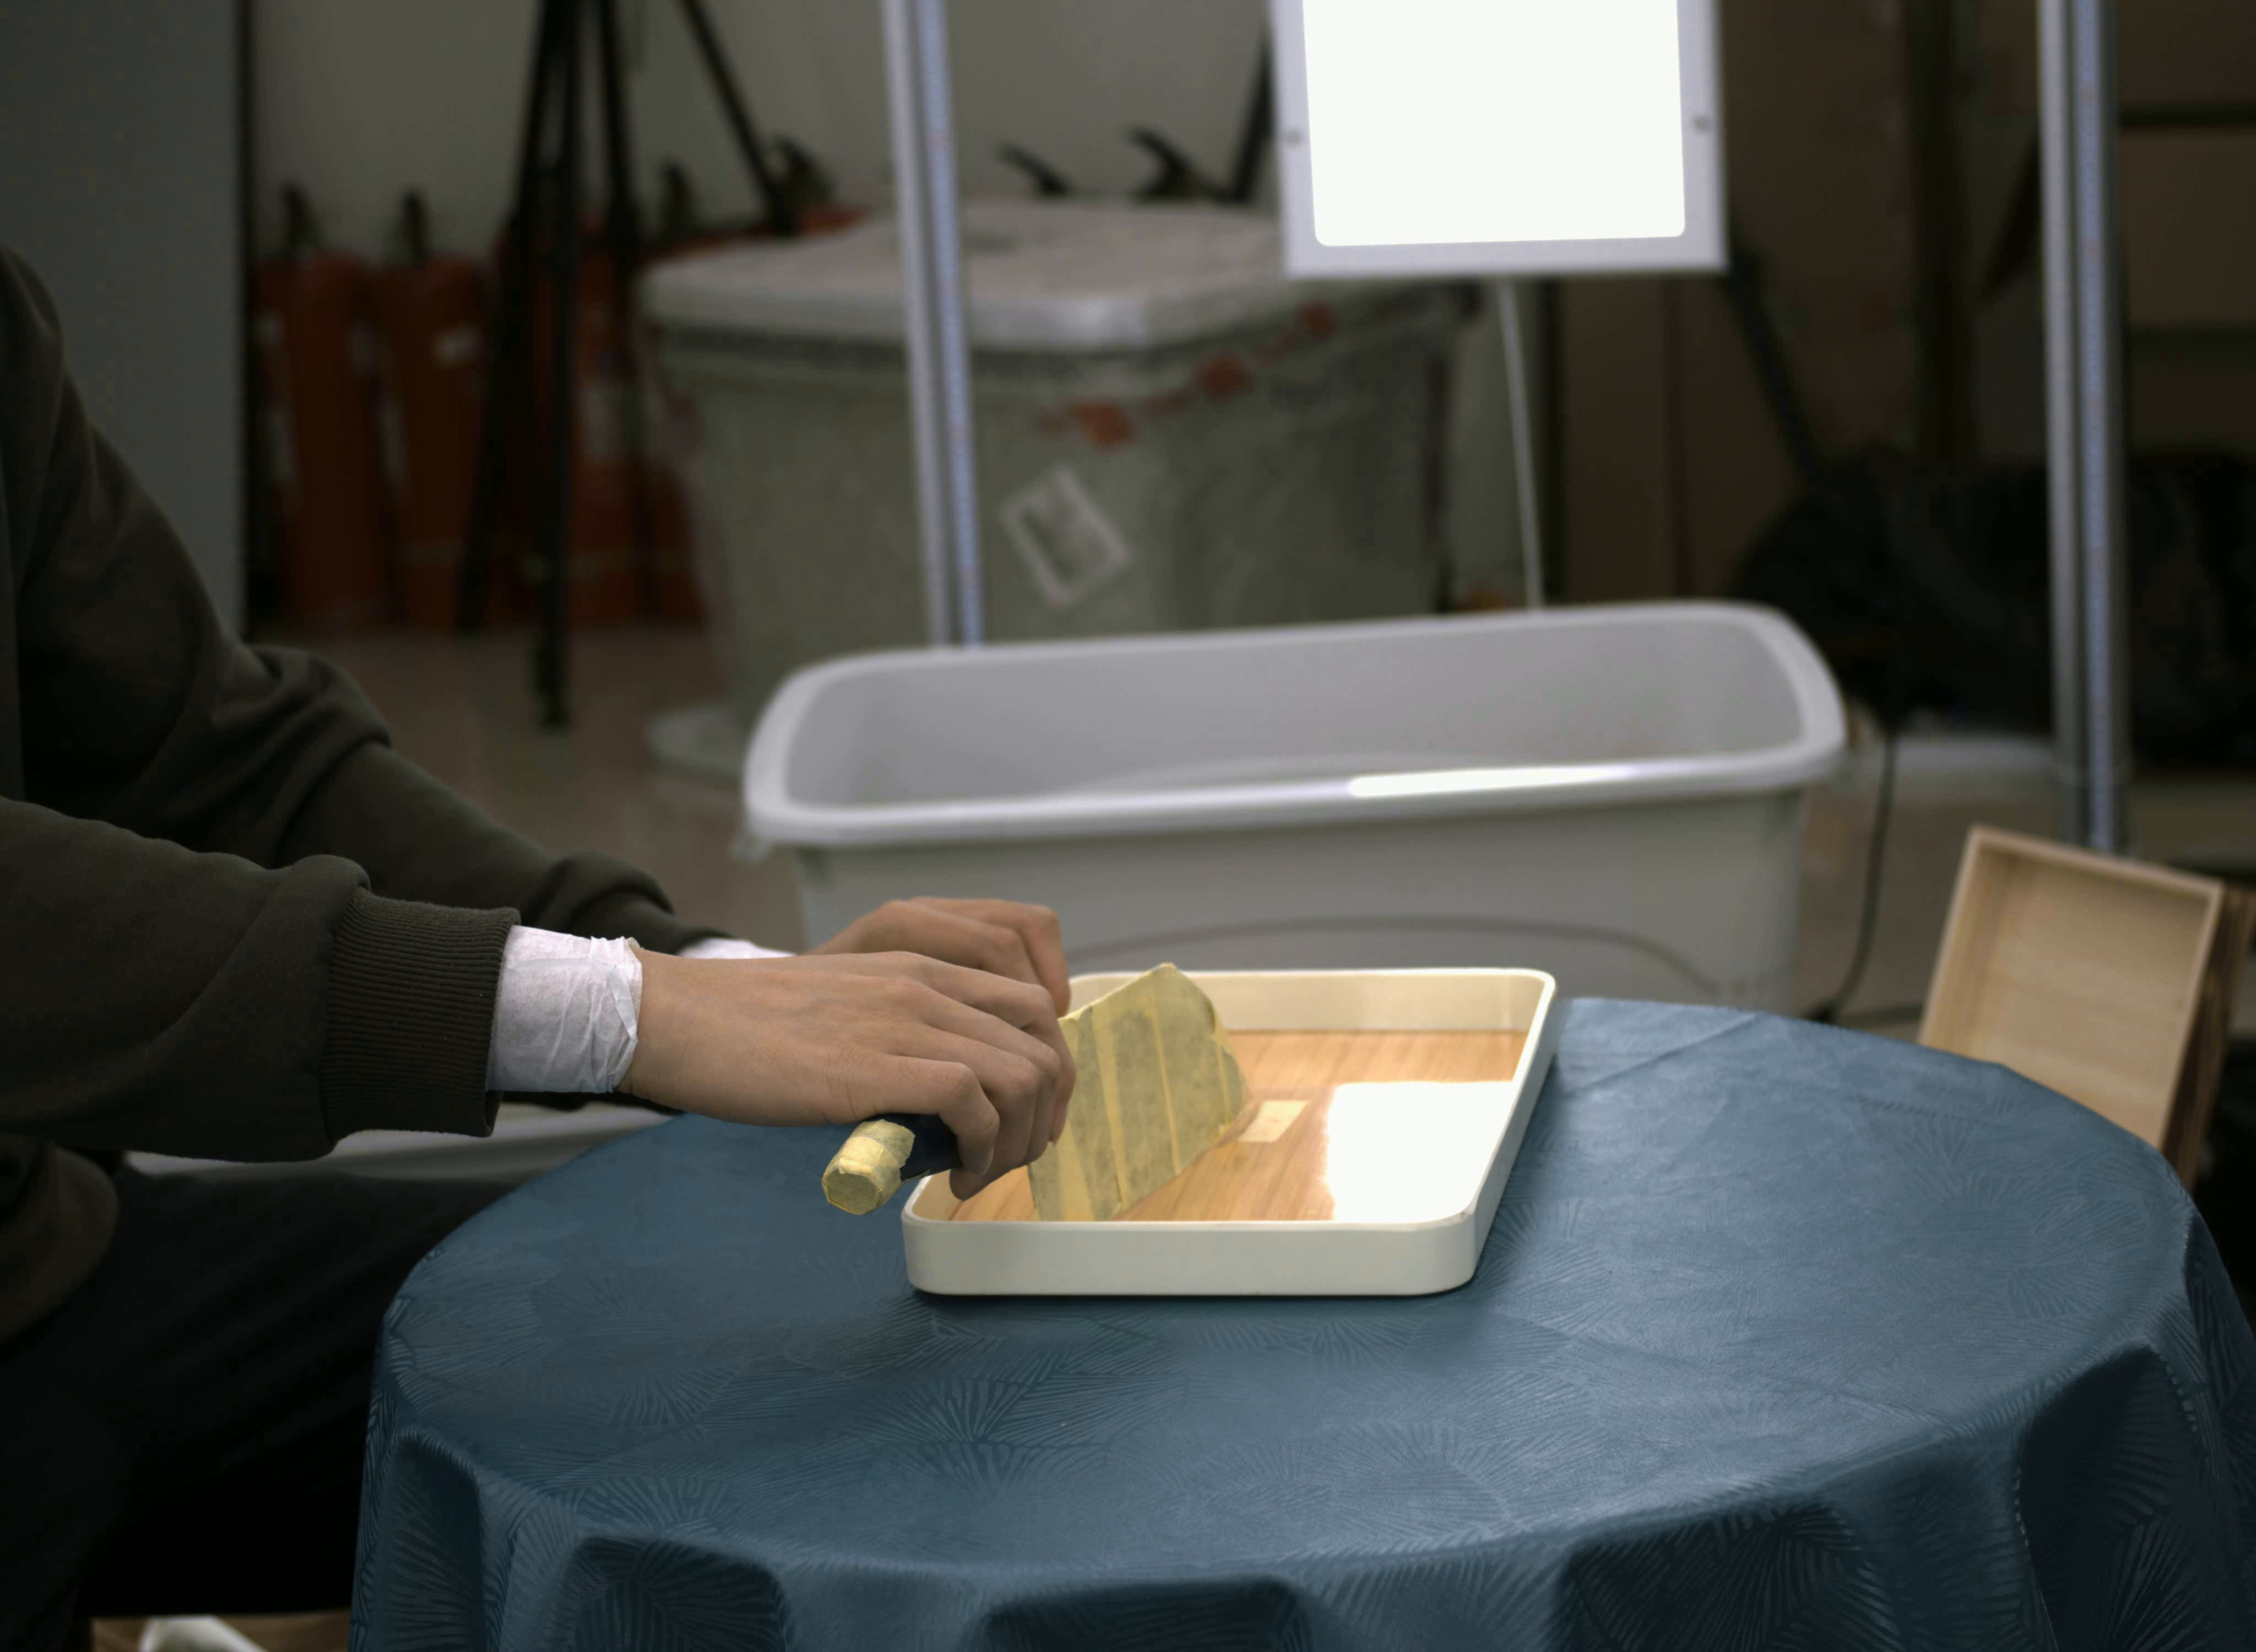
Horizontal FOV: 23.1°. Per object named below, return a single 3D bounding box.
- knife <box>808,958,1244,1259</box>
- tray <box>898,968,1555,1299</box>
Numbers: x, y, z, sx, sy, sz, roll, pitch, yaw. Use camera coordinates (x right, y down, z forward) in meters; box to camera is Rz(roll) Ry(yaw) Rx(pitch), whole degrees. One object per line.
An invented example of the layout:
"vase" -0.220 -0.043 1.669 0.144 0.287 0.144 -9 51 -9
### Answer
"knife" -0.024 0.100 1.812 0.028 0.081 0.283 -7 5 29
"tray" 0.042 0.104 1.919 0.193 0.027 0.297 -2 14 12
